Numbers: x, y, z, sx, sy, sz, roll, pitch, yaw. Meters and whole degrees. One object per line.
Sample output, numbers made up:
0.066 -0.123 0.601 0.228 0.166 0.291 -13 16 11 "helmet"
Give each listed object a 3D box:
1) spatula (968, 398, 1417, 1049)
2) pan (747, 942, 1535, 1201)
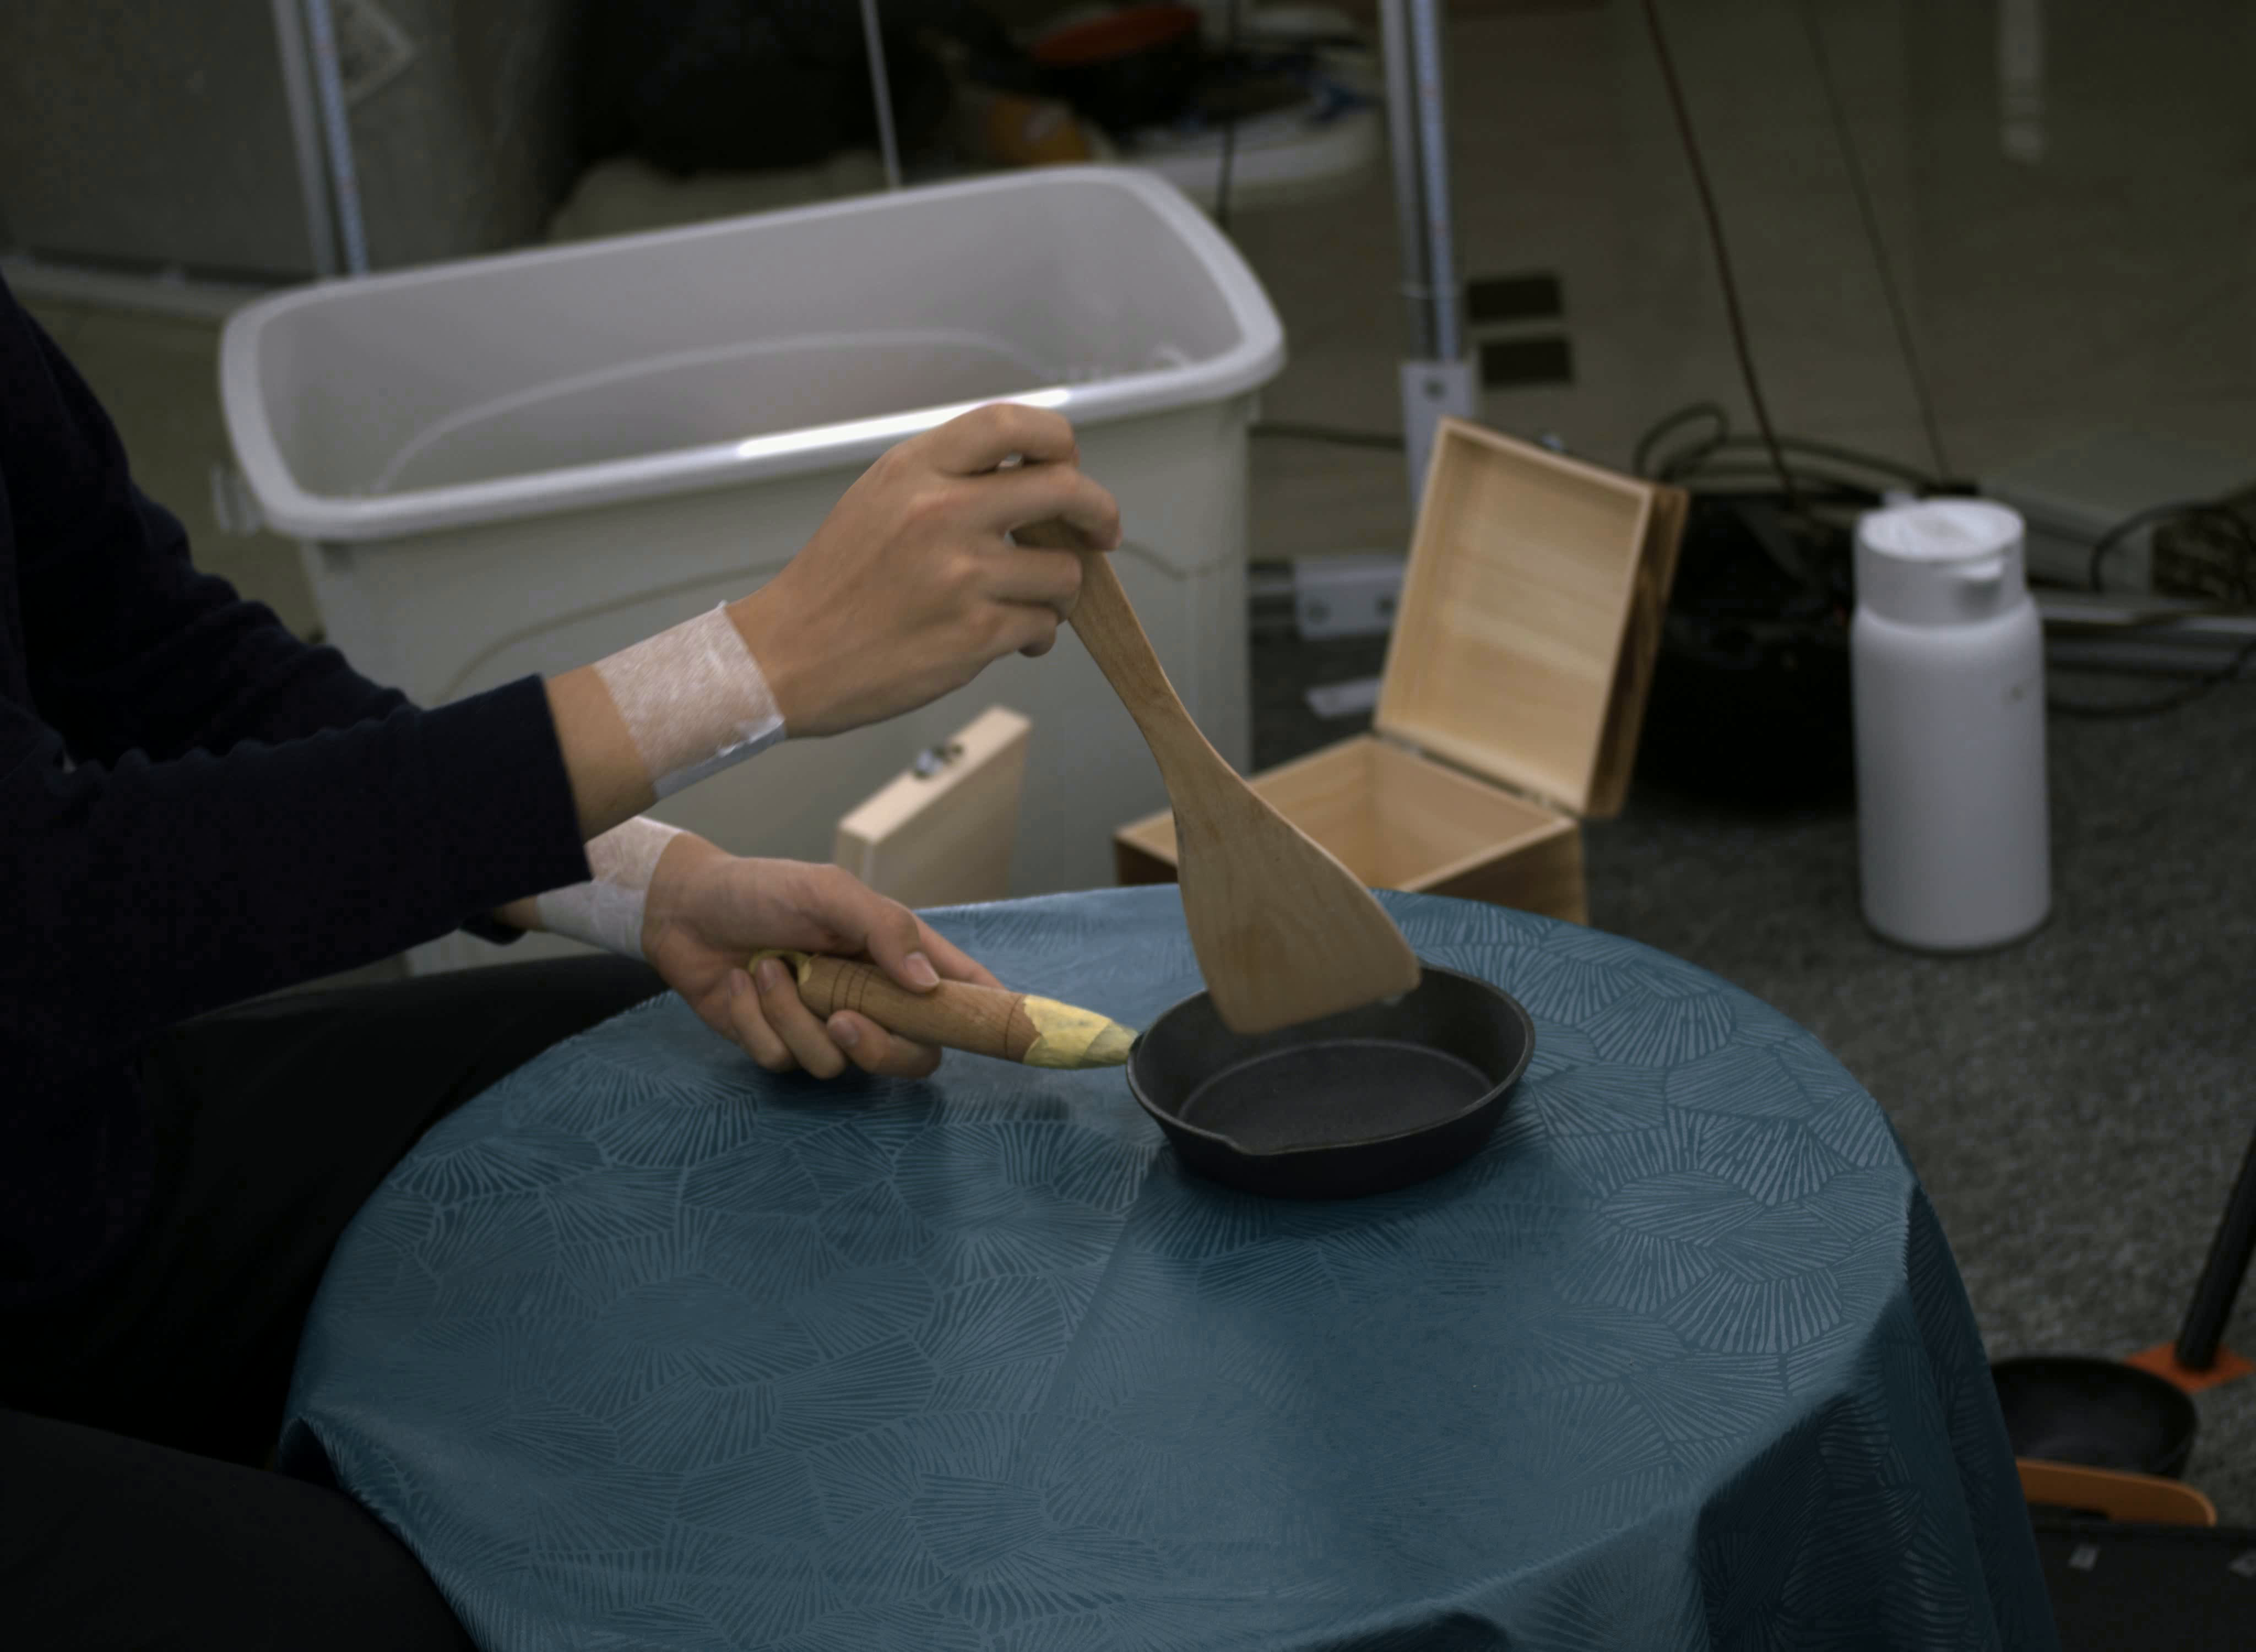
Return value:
0.015 -0.033 2.084 0.080 0.333 0.016 -23 37 9 "spatula"
0.001 0.085 2.202 0.323 0.050 0.167 6 28 23 "pan"
